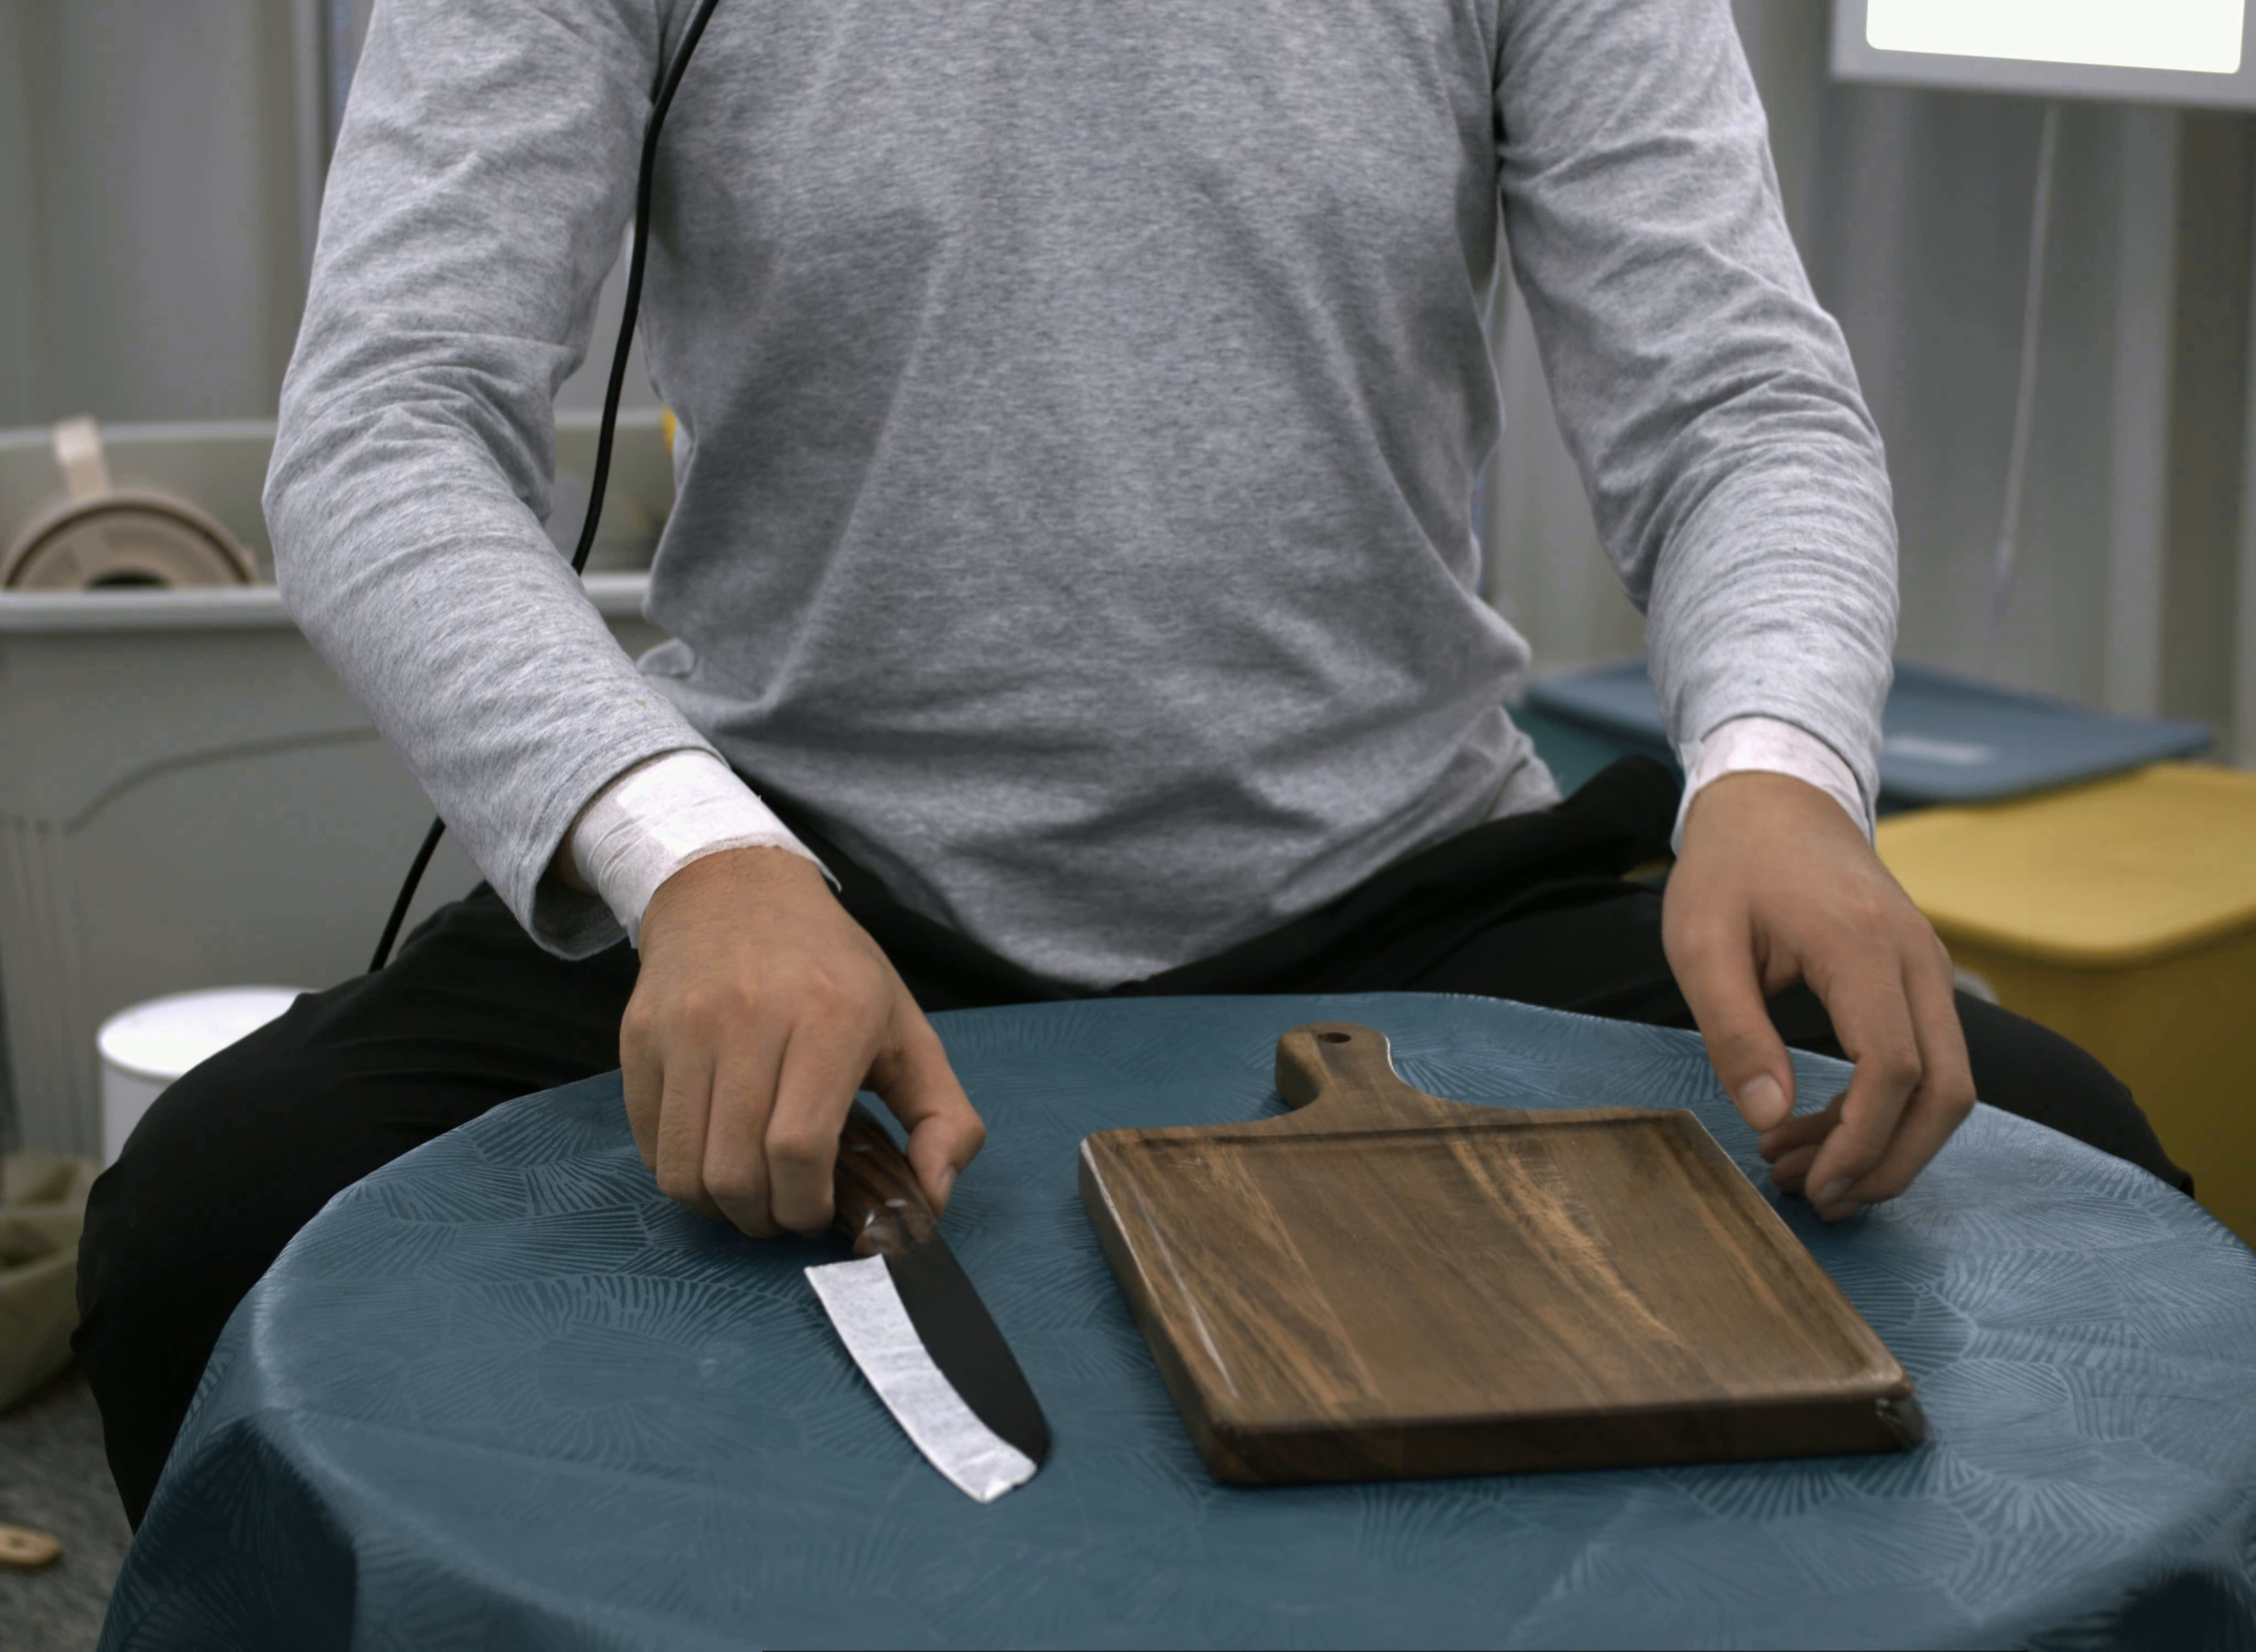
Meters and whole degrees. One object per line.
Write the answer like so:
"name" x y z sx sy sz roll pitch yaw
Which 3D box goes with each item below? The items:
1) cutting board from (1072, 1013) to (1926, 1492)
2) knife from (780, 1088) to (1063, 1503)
"cutting board" 0.092 0.118 1.569 0.201 0.023 0.349 -2 16 -9
"knife" -0.065 0.134 1.516 0.050 0.020 0.286 -6 19 -11
